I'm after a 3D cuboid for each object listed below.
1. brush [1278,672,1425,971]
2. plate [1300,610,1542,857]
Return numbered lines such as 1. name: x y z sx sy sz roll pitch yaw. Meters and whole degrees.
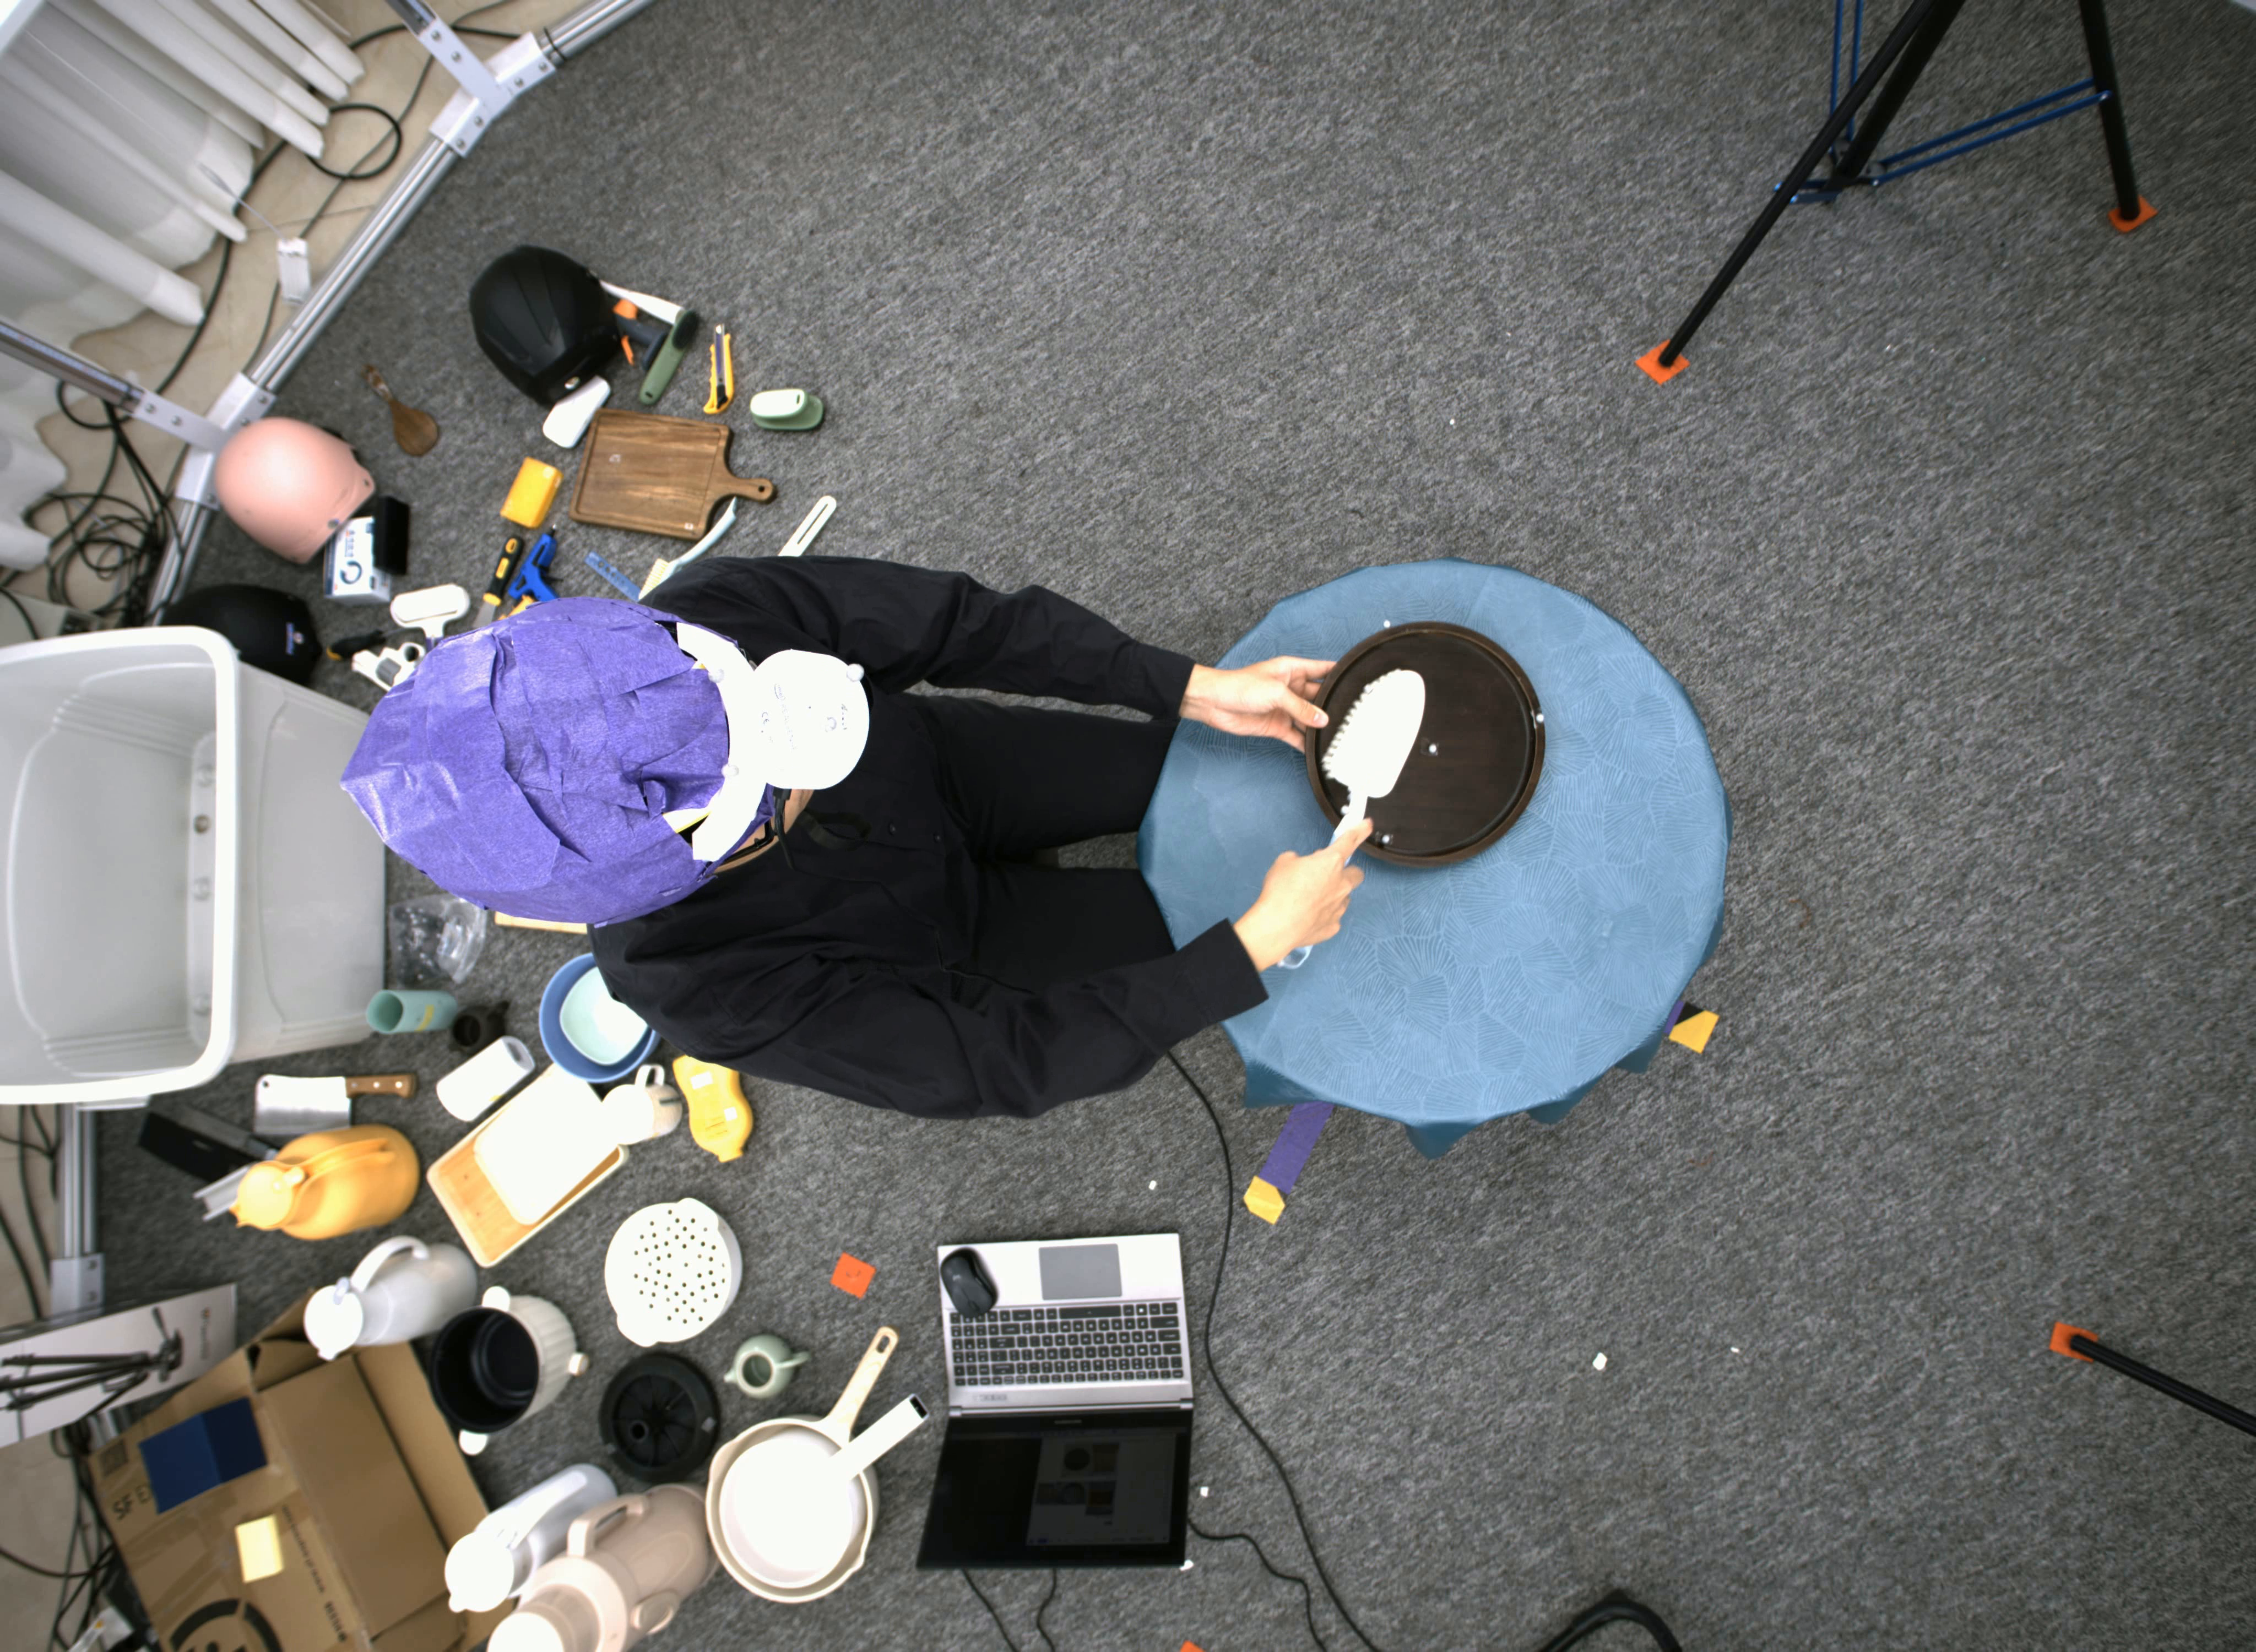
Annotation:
1. brush: 0.209 -0.008 1.377 0.083 0.085 0.323 22 84 29
2. plate: 0.300 -0.095 1.408 0.255 0.029 0.257 -1 102 -3
